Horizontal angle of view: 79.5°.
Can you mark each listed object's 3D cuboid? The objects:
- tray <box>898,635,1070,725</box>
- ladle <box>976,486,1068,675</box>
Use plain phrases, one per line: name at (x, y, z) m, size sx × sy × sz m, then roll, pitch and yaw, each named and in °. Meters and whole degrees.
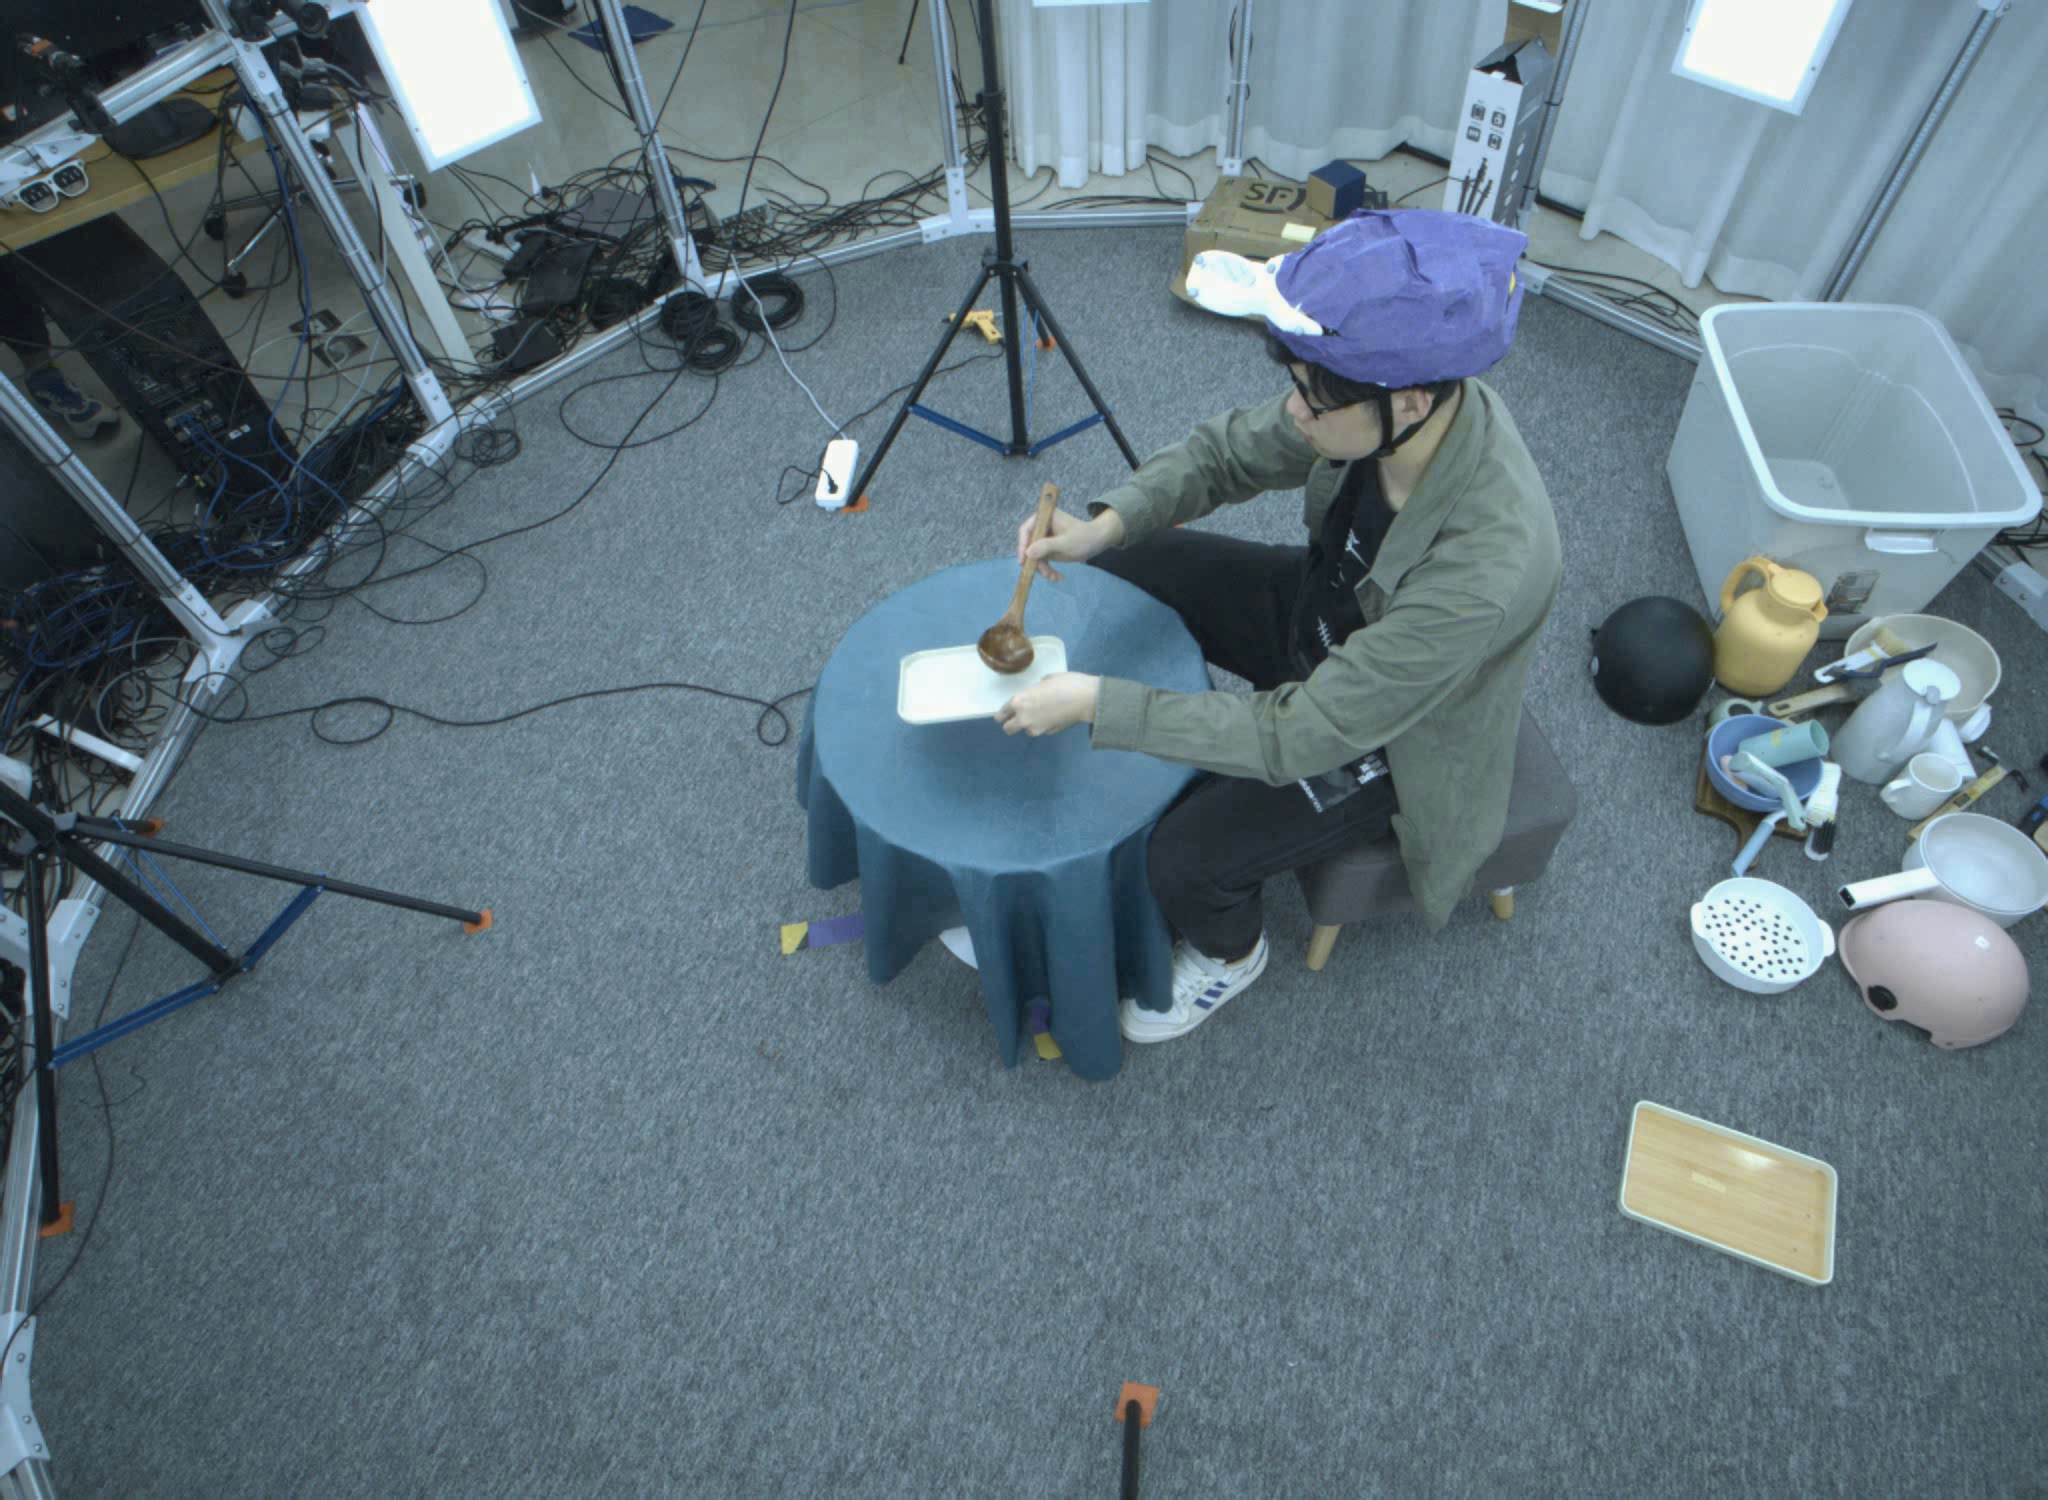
tray at (-0.057, -0.098, 1.729) m, size 0.239 × 0.018 × 0.169 m, roll -6°, pitch 39°, yaw 1°
ladle at (0.007, -0.235, 1.680) m, size 0.083 × 0.075 × 0.274 m, roll 19°, pitch 93°, yaw -18°
